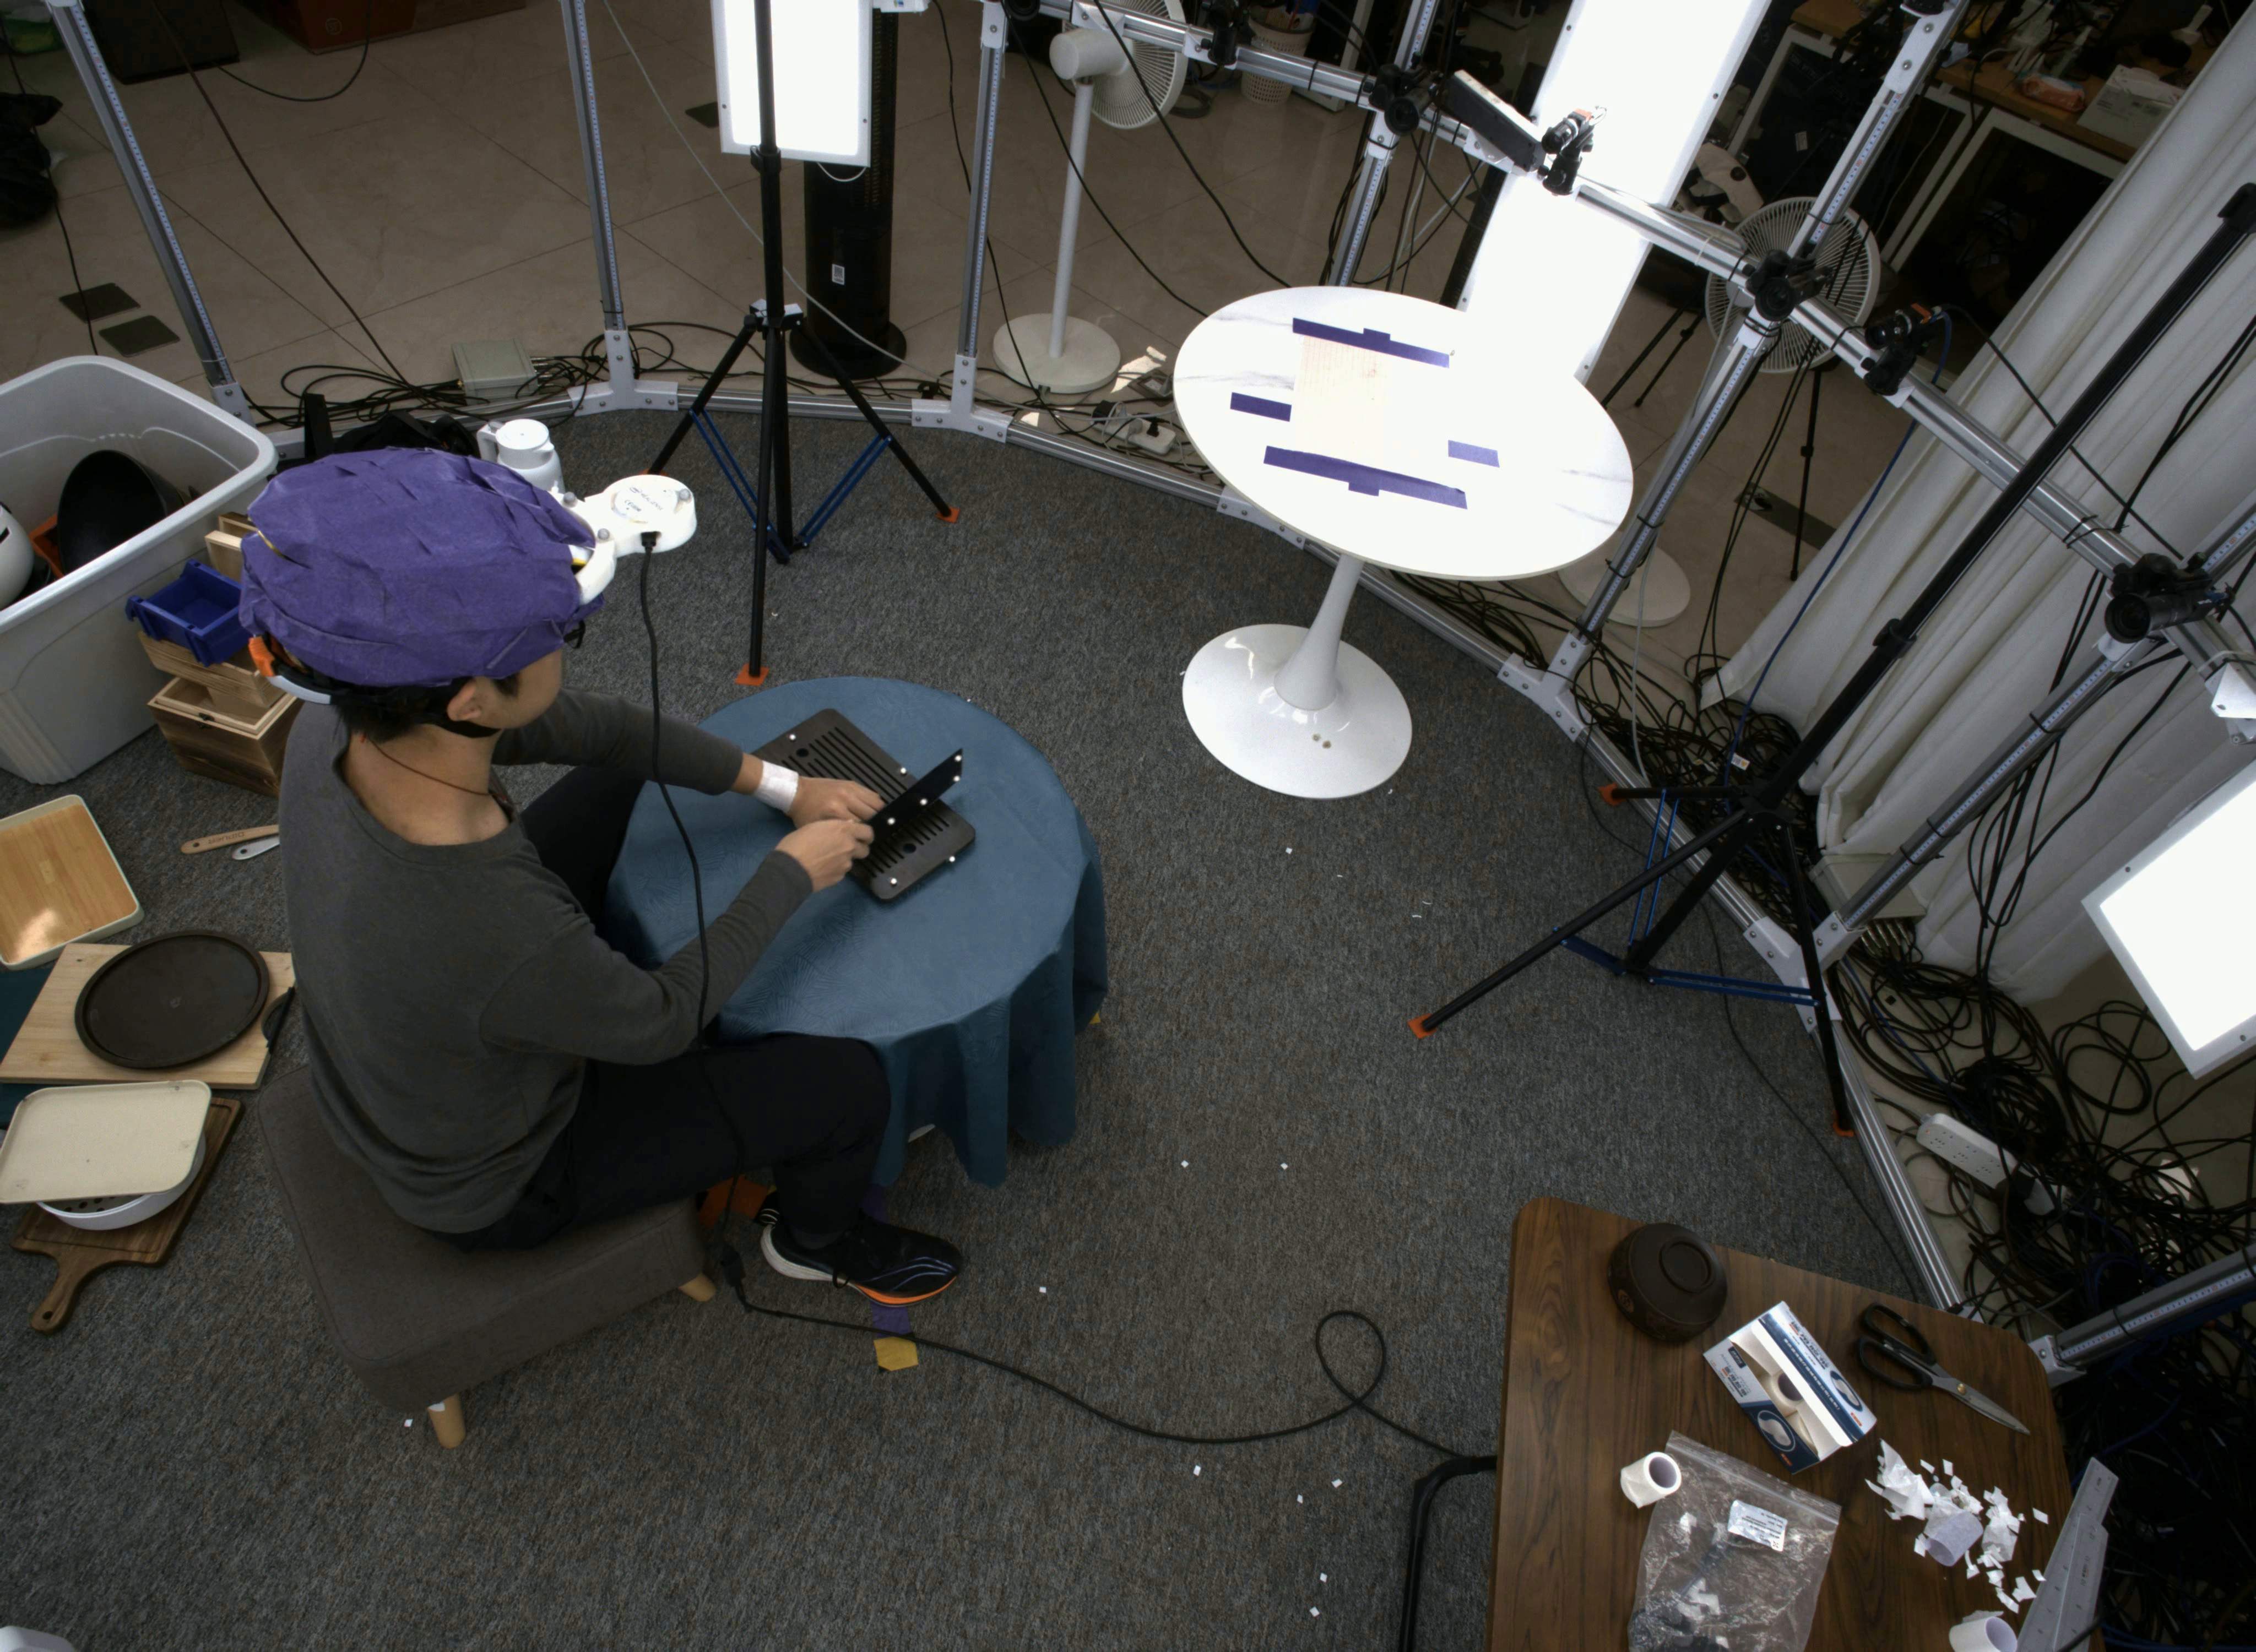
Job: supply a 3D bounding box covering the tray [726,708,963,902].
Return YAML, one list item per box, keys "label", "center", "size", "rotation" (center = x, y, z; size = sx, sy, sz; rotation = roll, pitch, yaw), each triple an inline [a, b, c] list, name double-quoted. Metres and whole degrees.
- label: "tray"
  center: [-0.385, -0.033, 1.758]
  size: [0.299, 0.019, 0.170]
  rotation: [39, 55, 15]

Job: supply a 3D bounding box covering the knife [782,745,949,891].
- label: "knife"
  center: [-0.334, -0.009, 1.692]
  size: [0.020, 0.083, 0.302]
  rotation: [31, 48, 21]
